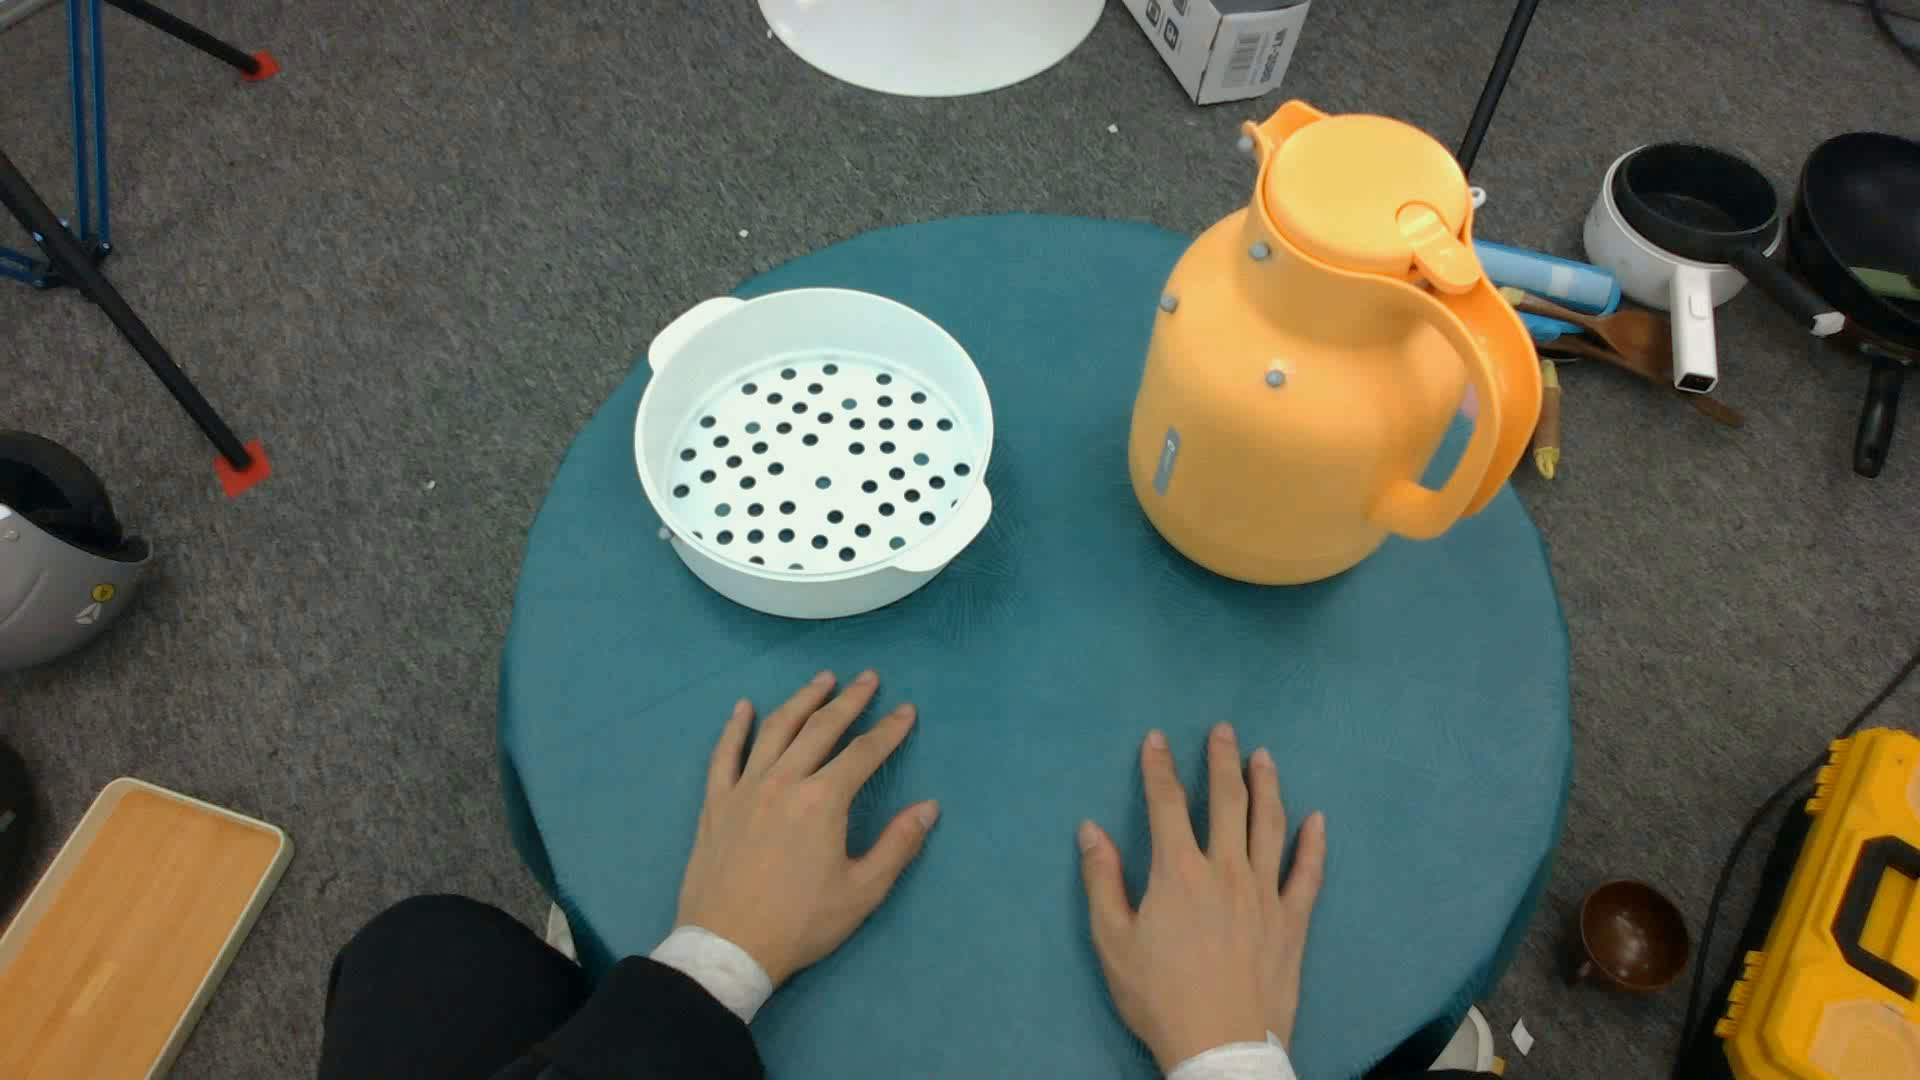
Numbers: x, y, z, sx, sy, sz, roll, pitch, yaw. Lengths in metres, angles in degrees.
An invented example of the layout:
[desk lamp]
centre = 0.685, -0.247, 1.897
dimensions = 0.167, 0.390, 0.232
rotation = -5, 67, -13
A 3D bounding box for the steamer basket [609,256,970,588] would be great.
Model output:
[steamer basket]
centre = -0.095, -0.068, 0.795
dimensions = 0.230, 0.069, 0.202
rotation = 36, 66, 20

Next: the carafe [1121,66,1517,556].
[carafe]
centre = 0.182, -0.099, 0.709
dimensions = 0.164, 0.259, 0.203
rotation = -28, 62, -13
